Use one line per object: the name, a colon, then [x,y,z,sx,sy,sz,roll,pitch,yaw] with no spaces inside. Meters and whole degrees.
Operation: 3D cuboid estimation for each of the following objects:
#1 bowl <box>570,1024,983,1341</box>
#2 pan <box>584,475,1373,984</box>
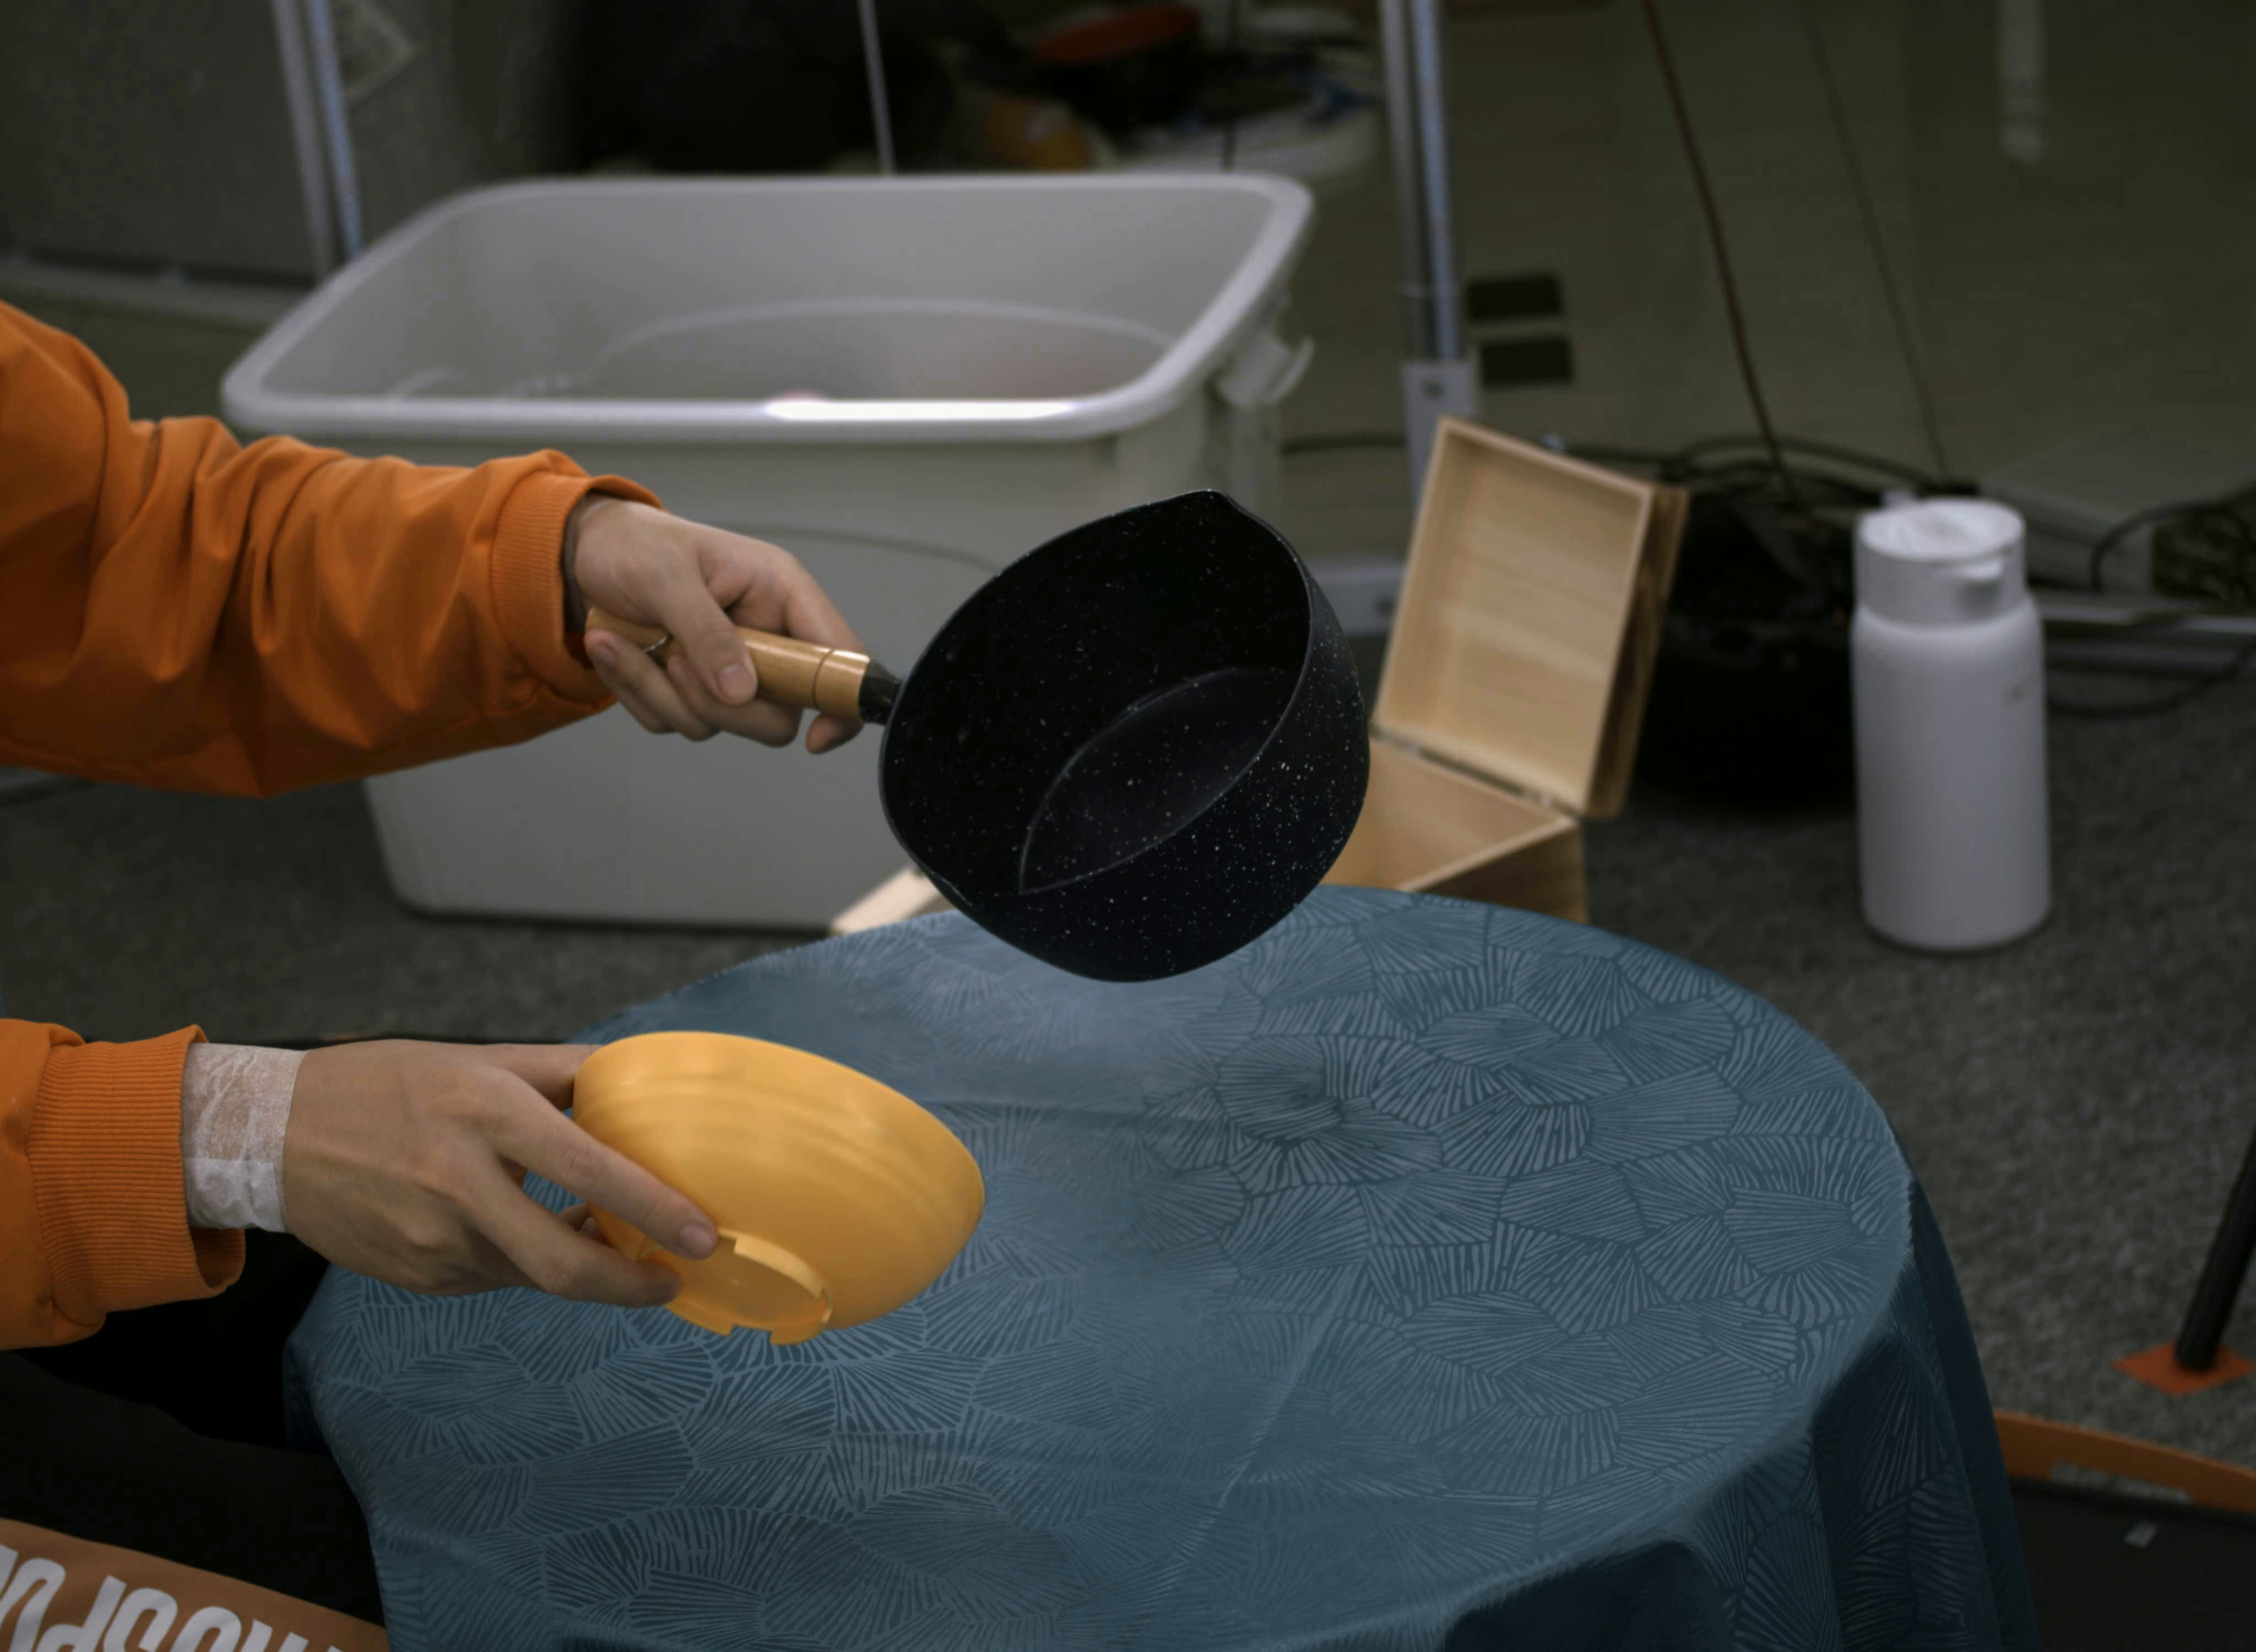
bowl: [-0.125,0.130,1.885,0.145,0.148,0.059,4,57,20]
pan: [-0.061,-0.039,2.172,0.341,0.110,0.205,7,60,37]
